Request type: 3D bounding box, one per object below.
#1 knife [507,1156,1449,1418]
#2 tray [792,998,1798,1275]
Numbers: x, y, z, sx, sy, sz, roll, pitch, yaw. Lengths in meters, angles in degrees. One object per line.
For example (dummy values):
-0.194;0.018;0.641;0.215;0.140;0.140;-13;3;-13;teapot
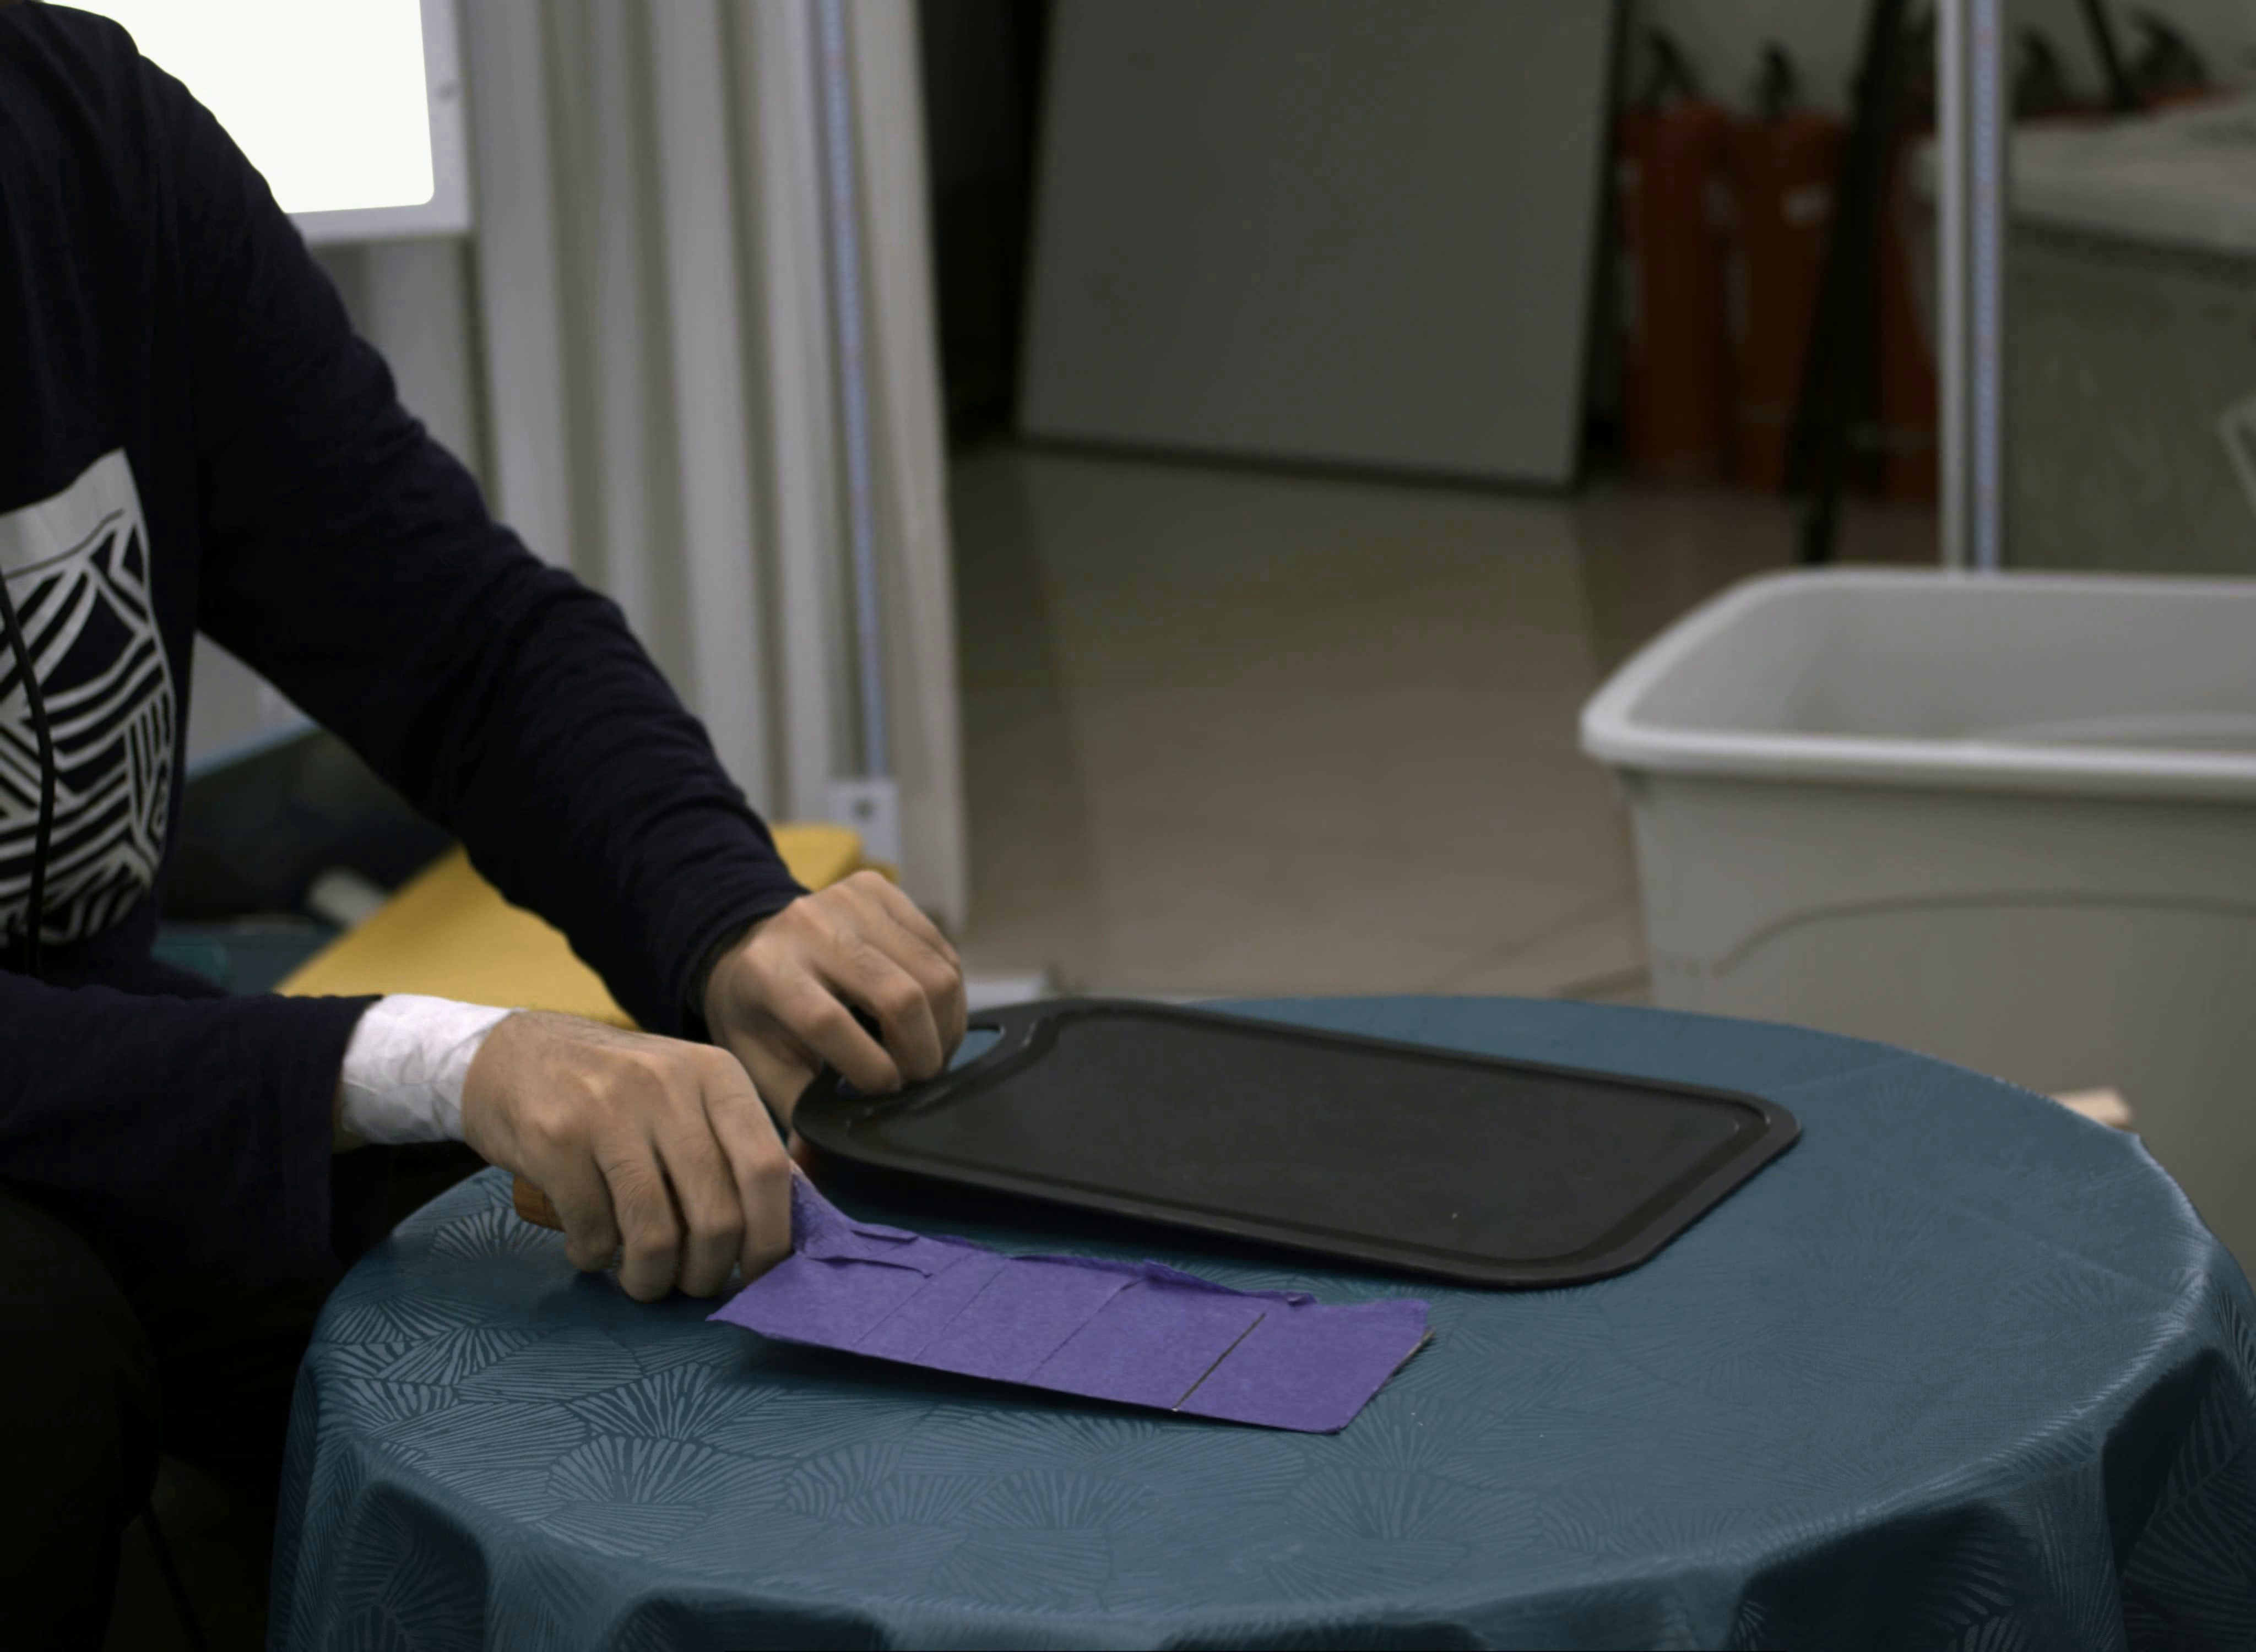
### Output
-0.062;0.139;1.639;0.315;0.032;0.102;5;16;24;knife
0.049;0.098;1.796;0.326;0.010;0.208;8;17;29;tray
